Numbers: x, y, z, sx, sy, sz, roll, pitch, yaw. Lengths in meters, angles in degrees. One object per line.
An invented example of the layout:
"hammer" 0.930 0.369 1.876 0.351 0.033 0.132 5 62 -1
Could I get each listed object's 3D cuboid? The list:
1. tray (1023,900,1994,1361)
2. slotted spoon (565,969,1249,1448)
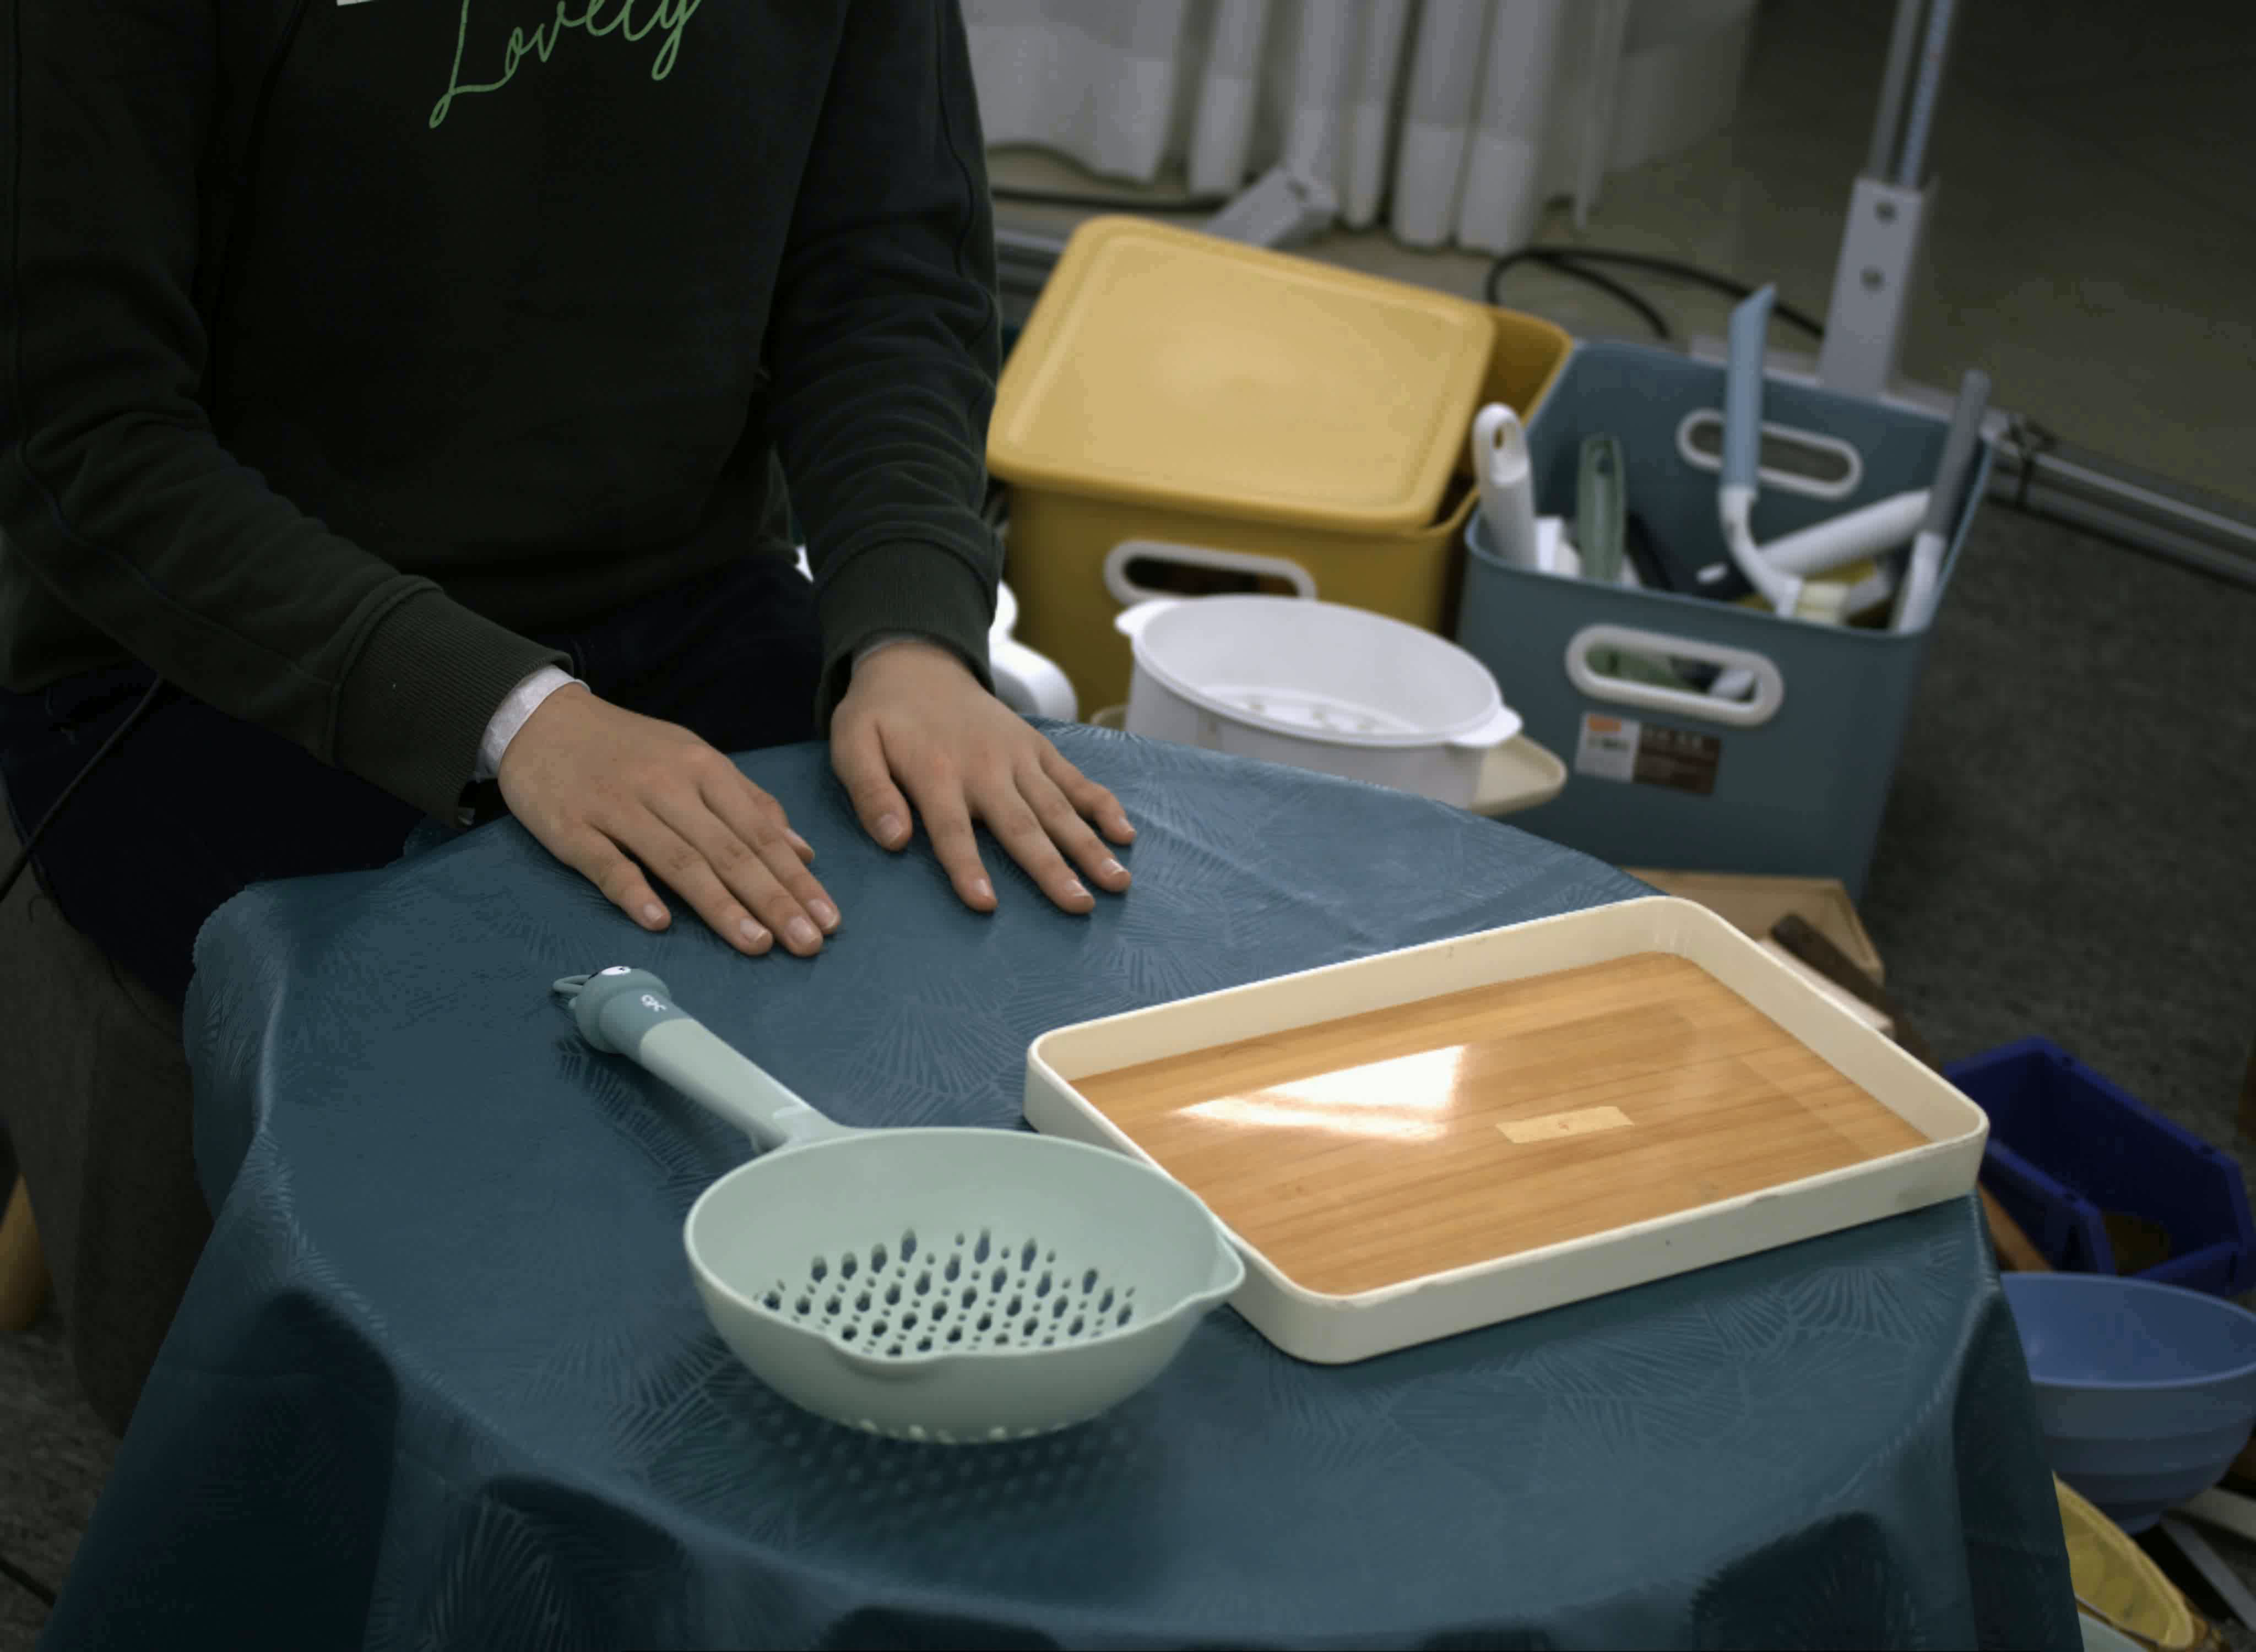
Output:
"tray" 0.132 0.101 1.846 0.298 0.027 0.193 -11 31 -31
"slotted spoon" -0.103 0.108 1.735 0.168 0.075 0.362 -9 30 -29
